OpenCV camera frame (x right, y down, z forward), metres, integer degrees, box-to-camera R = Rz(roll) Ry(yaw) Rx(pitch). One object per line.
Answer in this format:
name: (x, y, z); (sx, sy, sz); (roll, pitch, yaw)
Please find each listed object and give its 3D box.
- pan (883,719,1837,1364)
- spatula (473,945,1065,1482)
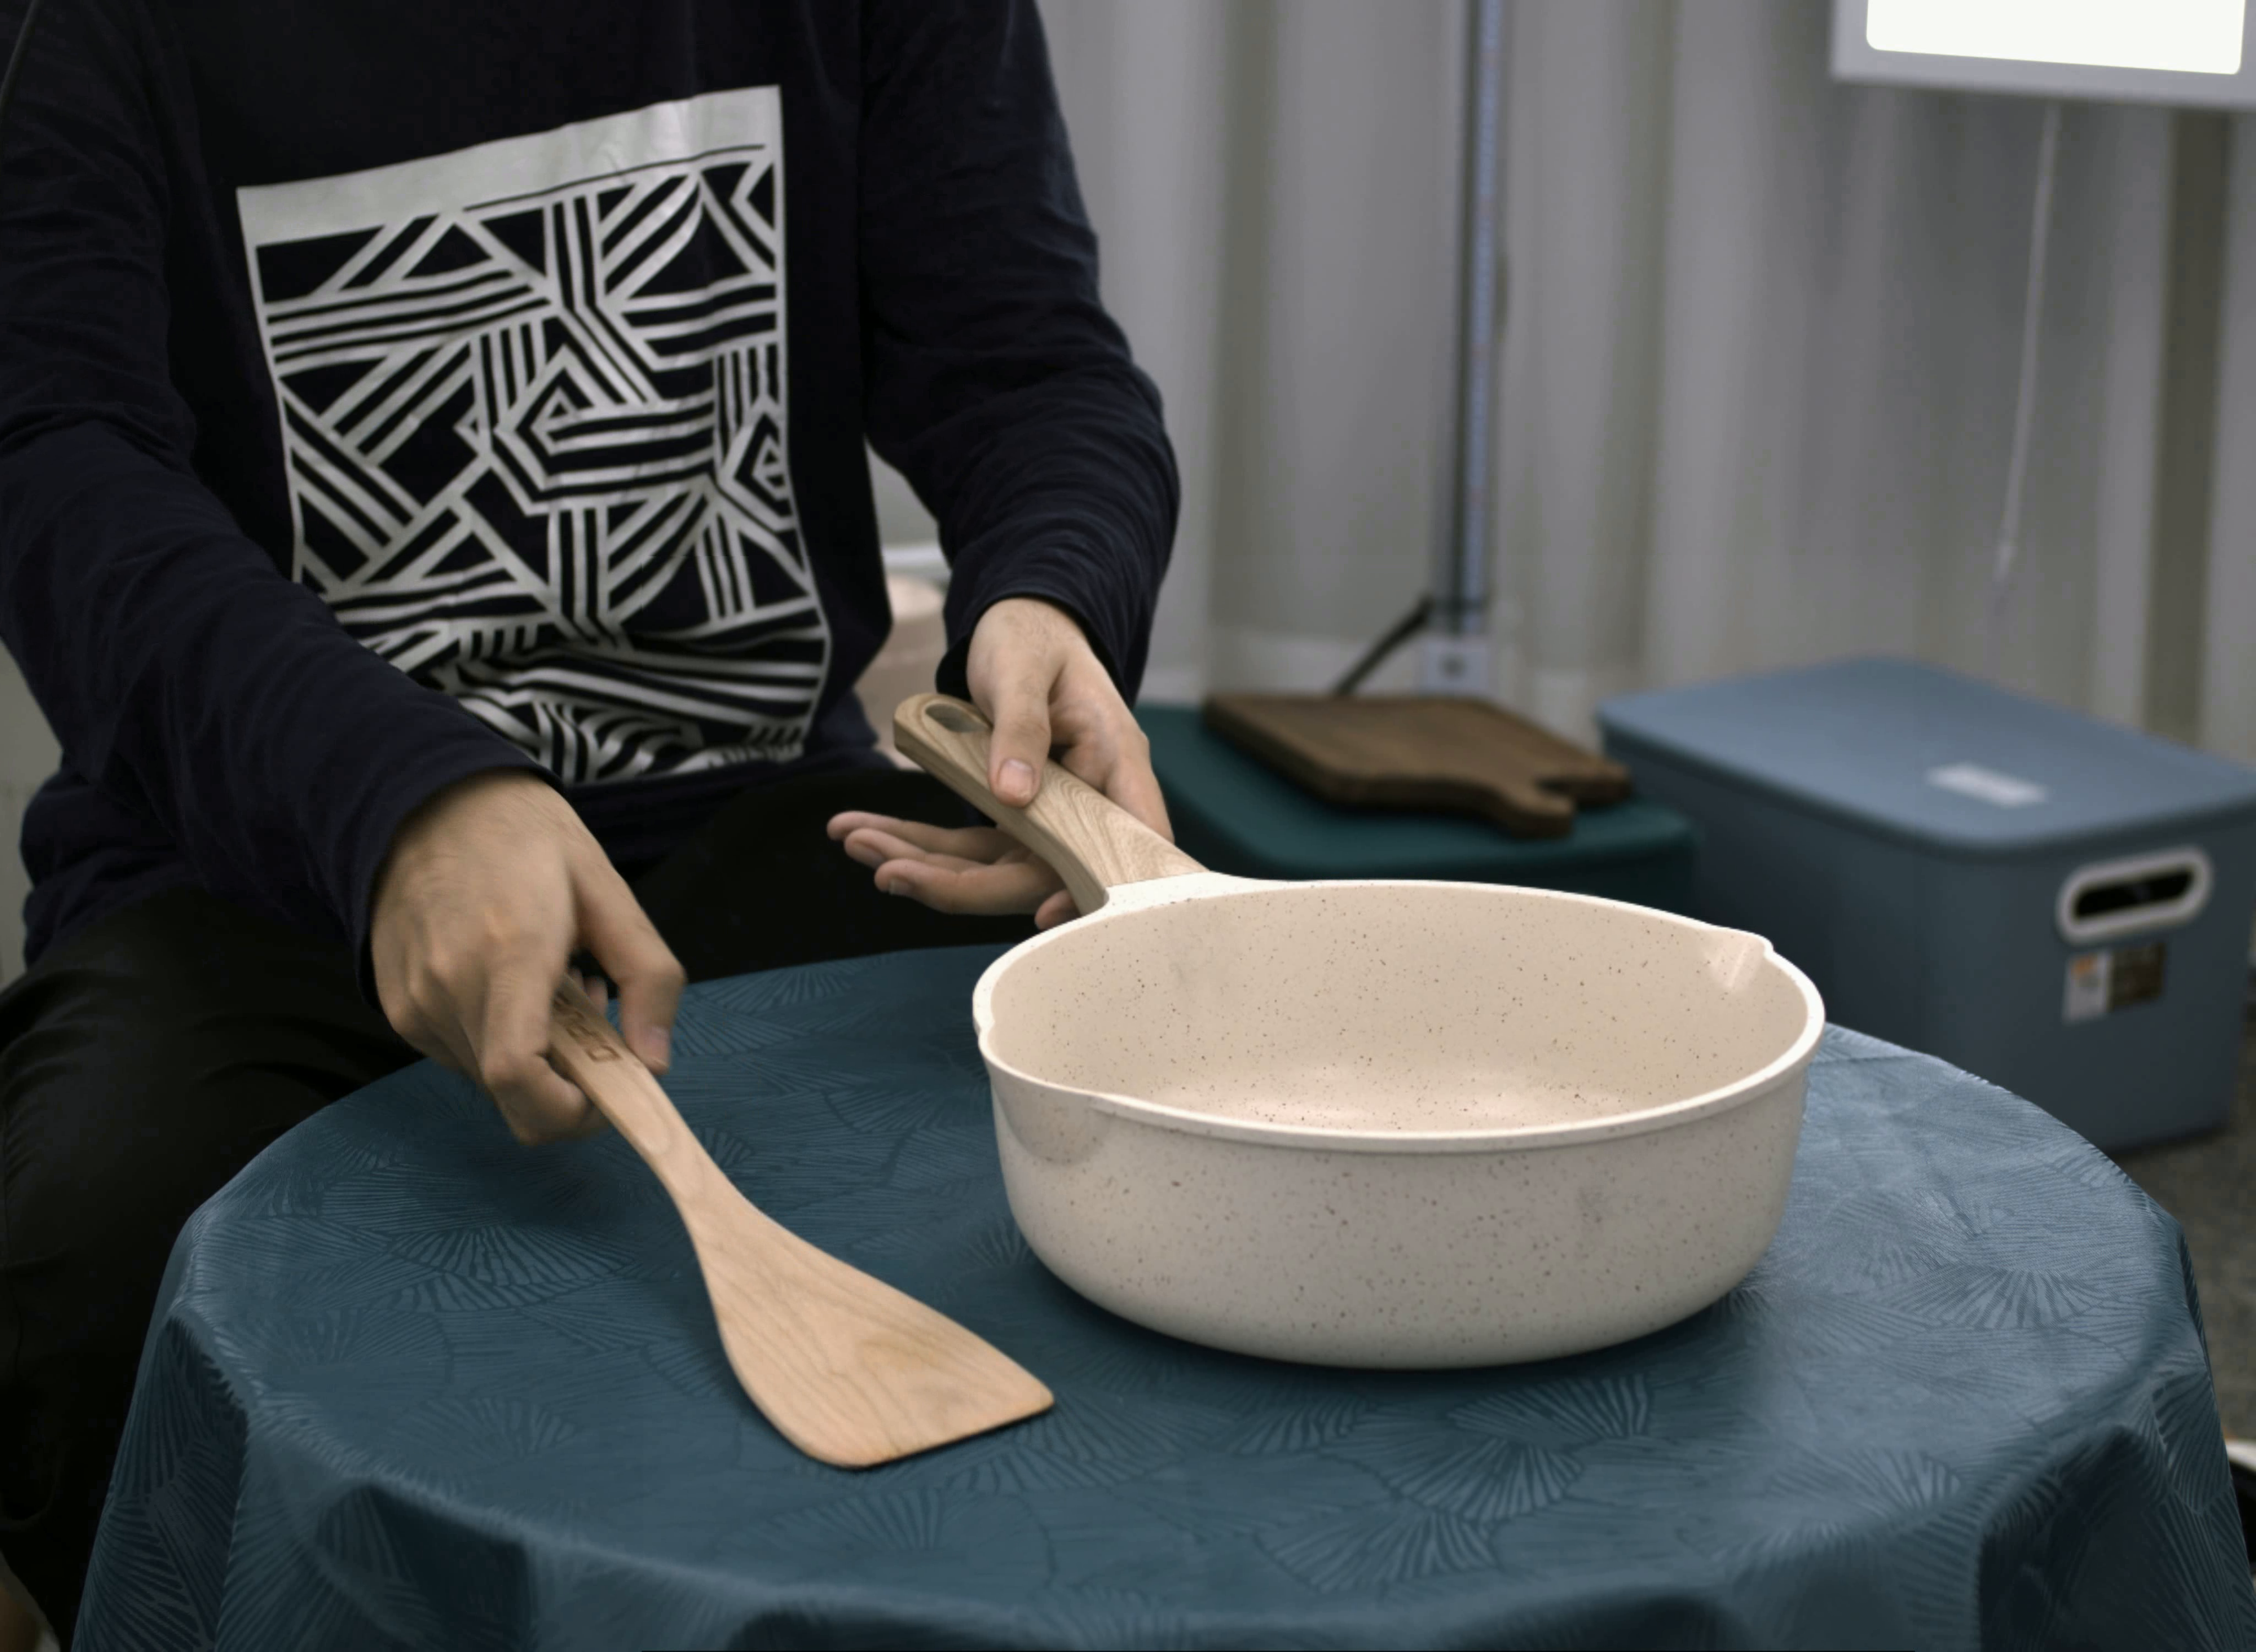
pan: (0.038, 0.061, 1.638); (0.264, 0.103, 0.429); (-9, 18, -29)
spatula: (-0.121, 0.106, 1.545); (0.080, 0.016, 0.323); (-8, 30, -29)
